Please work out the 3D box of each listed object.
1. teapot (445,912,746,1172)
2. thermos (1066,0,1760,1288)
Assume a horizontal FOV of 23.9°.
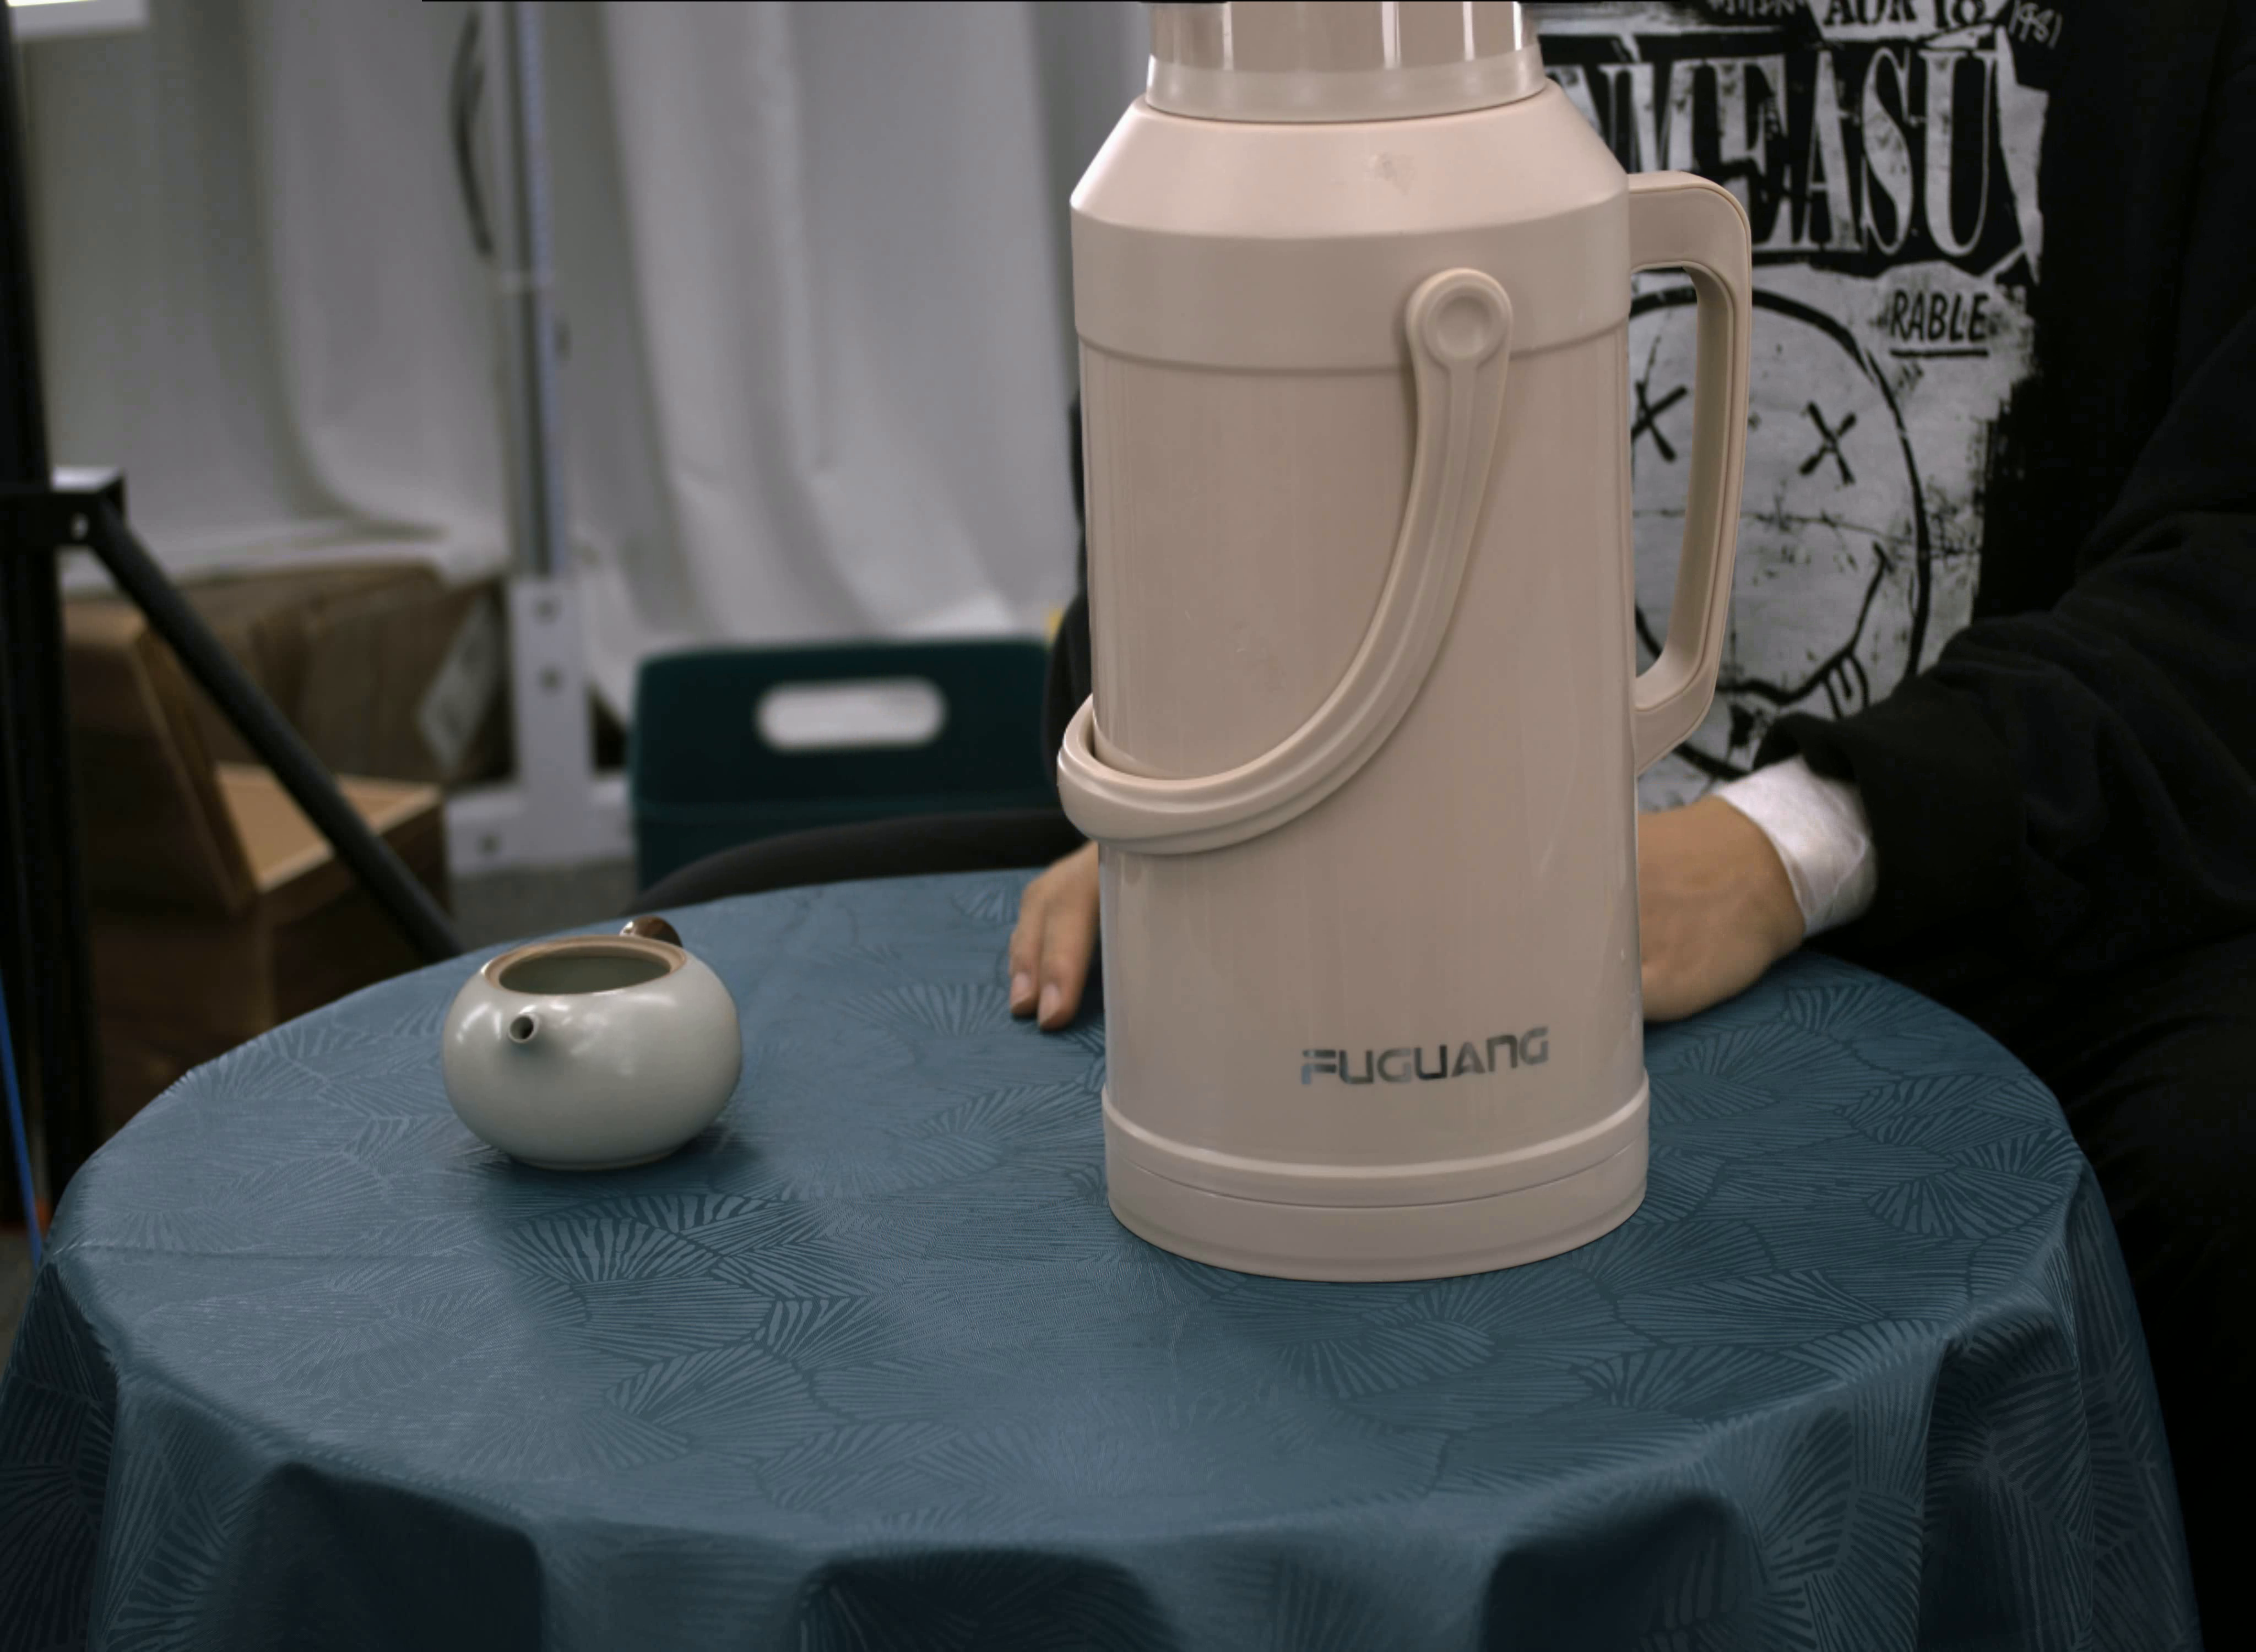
[{"bbox_3d":[-0.159,0.066,1.623,0.092,0.059,0.127,-3,16,17],"label":"teapot"},{"bbox_3d":[0.081,-0.085,1.499,0.203,0.406,0.178,-7,14,-16],"label":"thermos"}]
